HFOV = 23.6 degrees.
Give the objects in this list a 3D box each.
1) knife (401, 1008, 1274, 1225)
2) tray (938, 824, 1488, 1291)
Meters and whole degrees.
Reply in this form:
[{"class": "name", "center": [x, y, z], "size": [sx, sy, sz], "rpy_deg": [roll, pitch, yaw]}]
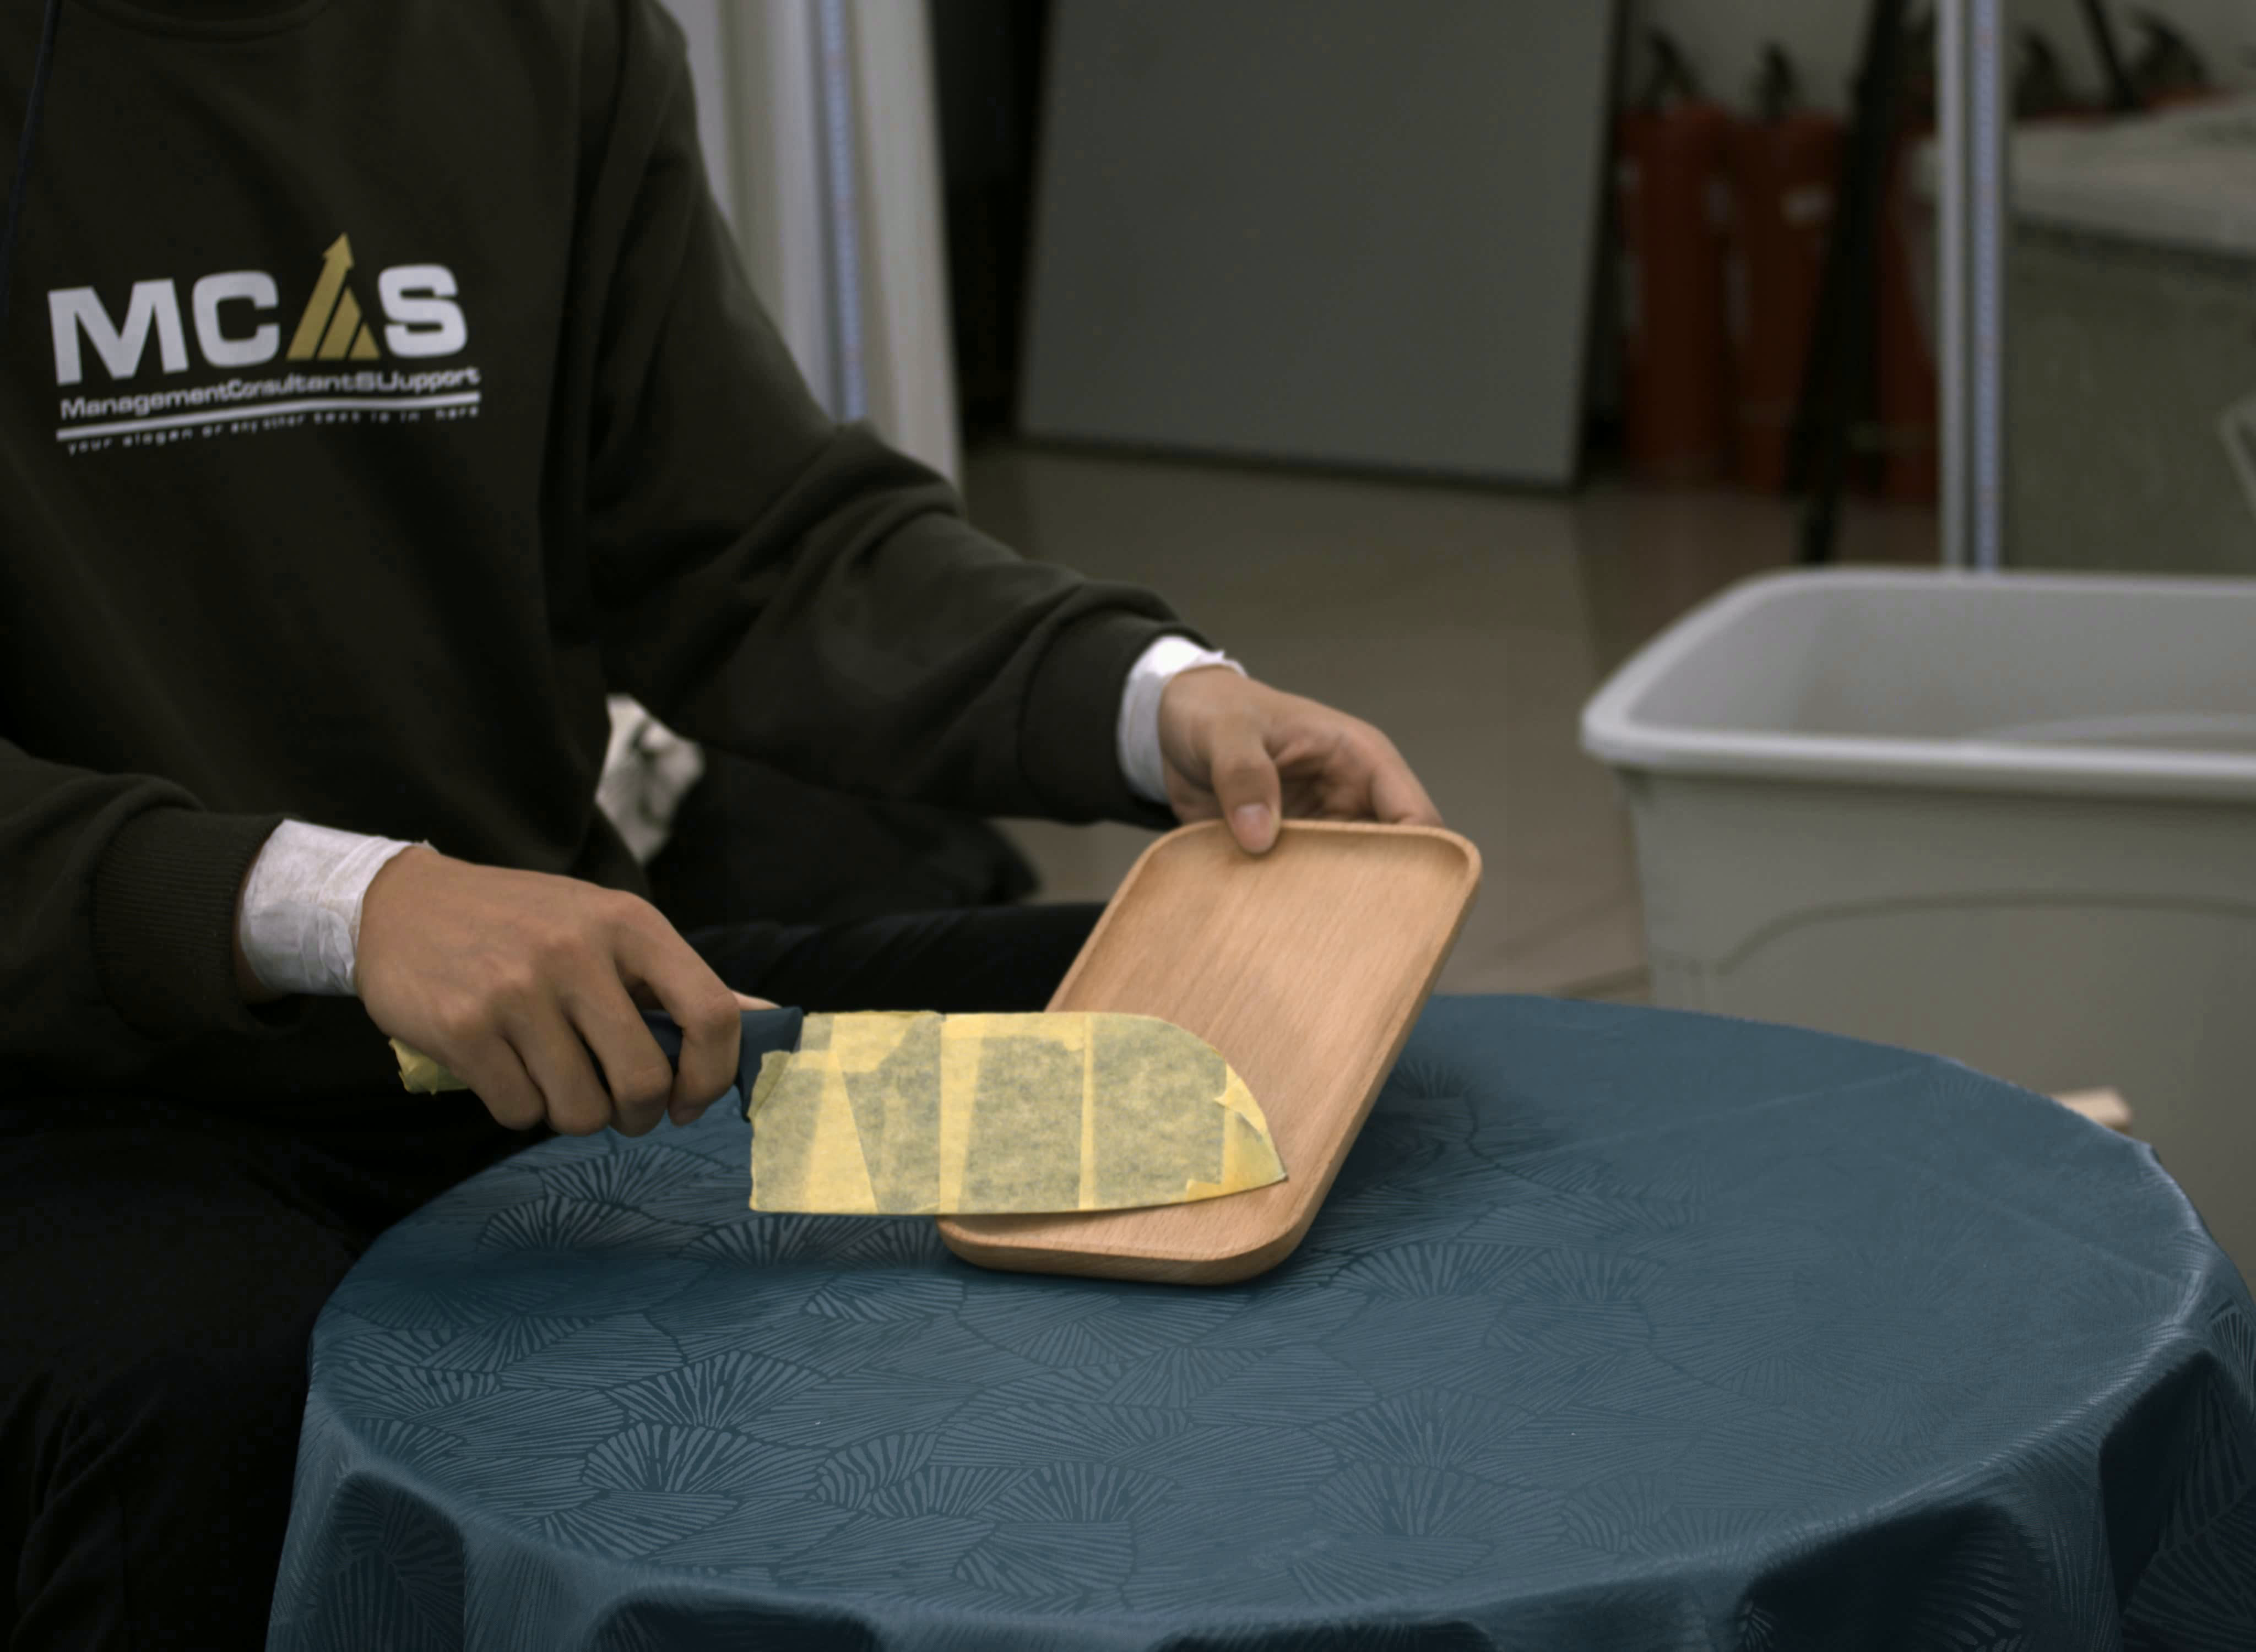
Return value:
[{"class": "knife", "center": [-0.094, 0.092, 1.732], "size": [0.287, 0.027, 0.082], "rpy_deg": [0, 57, 8]}, {"class": "tray", "center": [0.032, 0.073, 1.774], "size": [0.130, 0.023, 0.249], "rpy_deg": [-1, 33, 24]}]
